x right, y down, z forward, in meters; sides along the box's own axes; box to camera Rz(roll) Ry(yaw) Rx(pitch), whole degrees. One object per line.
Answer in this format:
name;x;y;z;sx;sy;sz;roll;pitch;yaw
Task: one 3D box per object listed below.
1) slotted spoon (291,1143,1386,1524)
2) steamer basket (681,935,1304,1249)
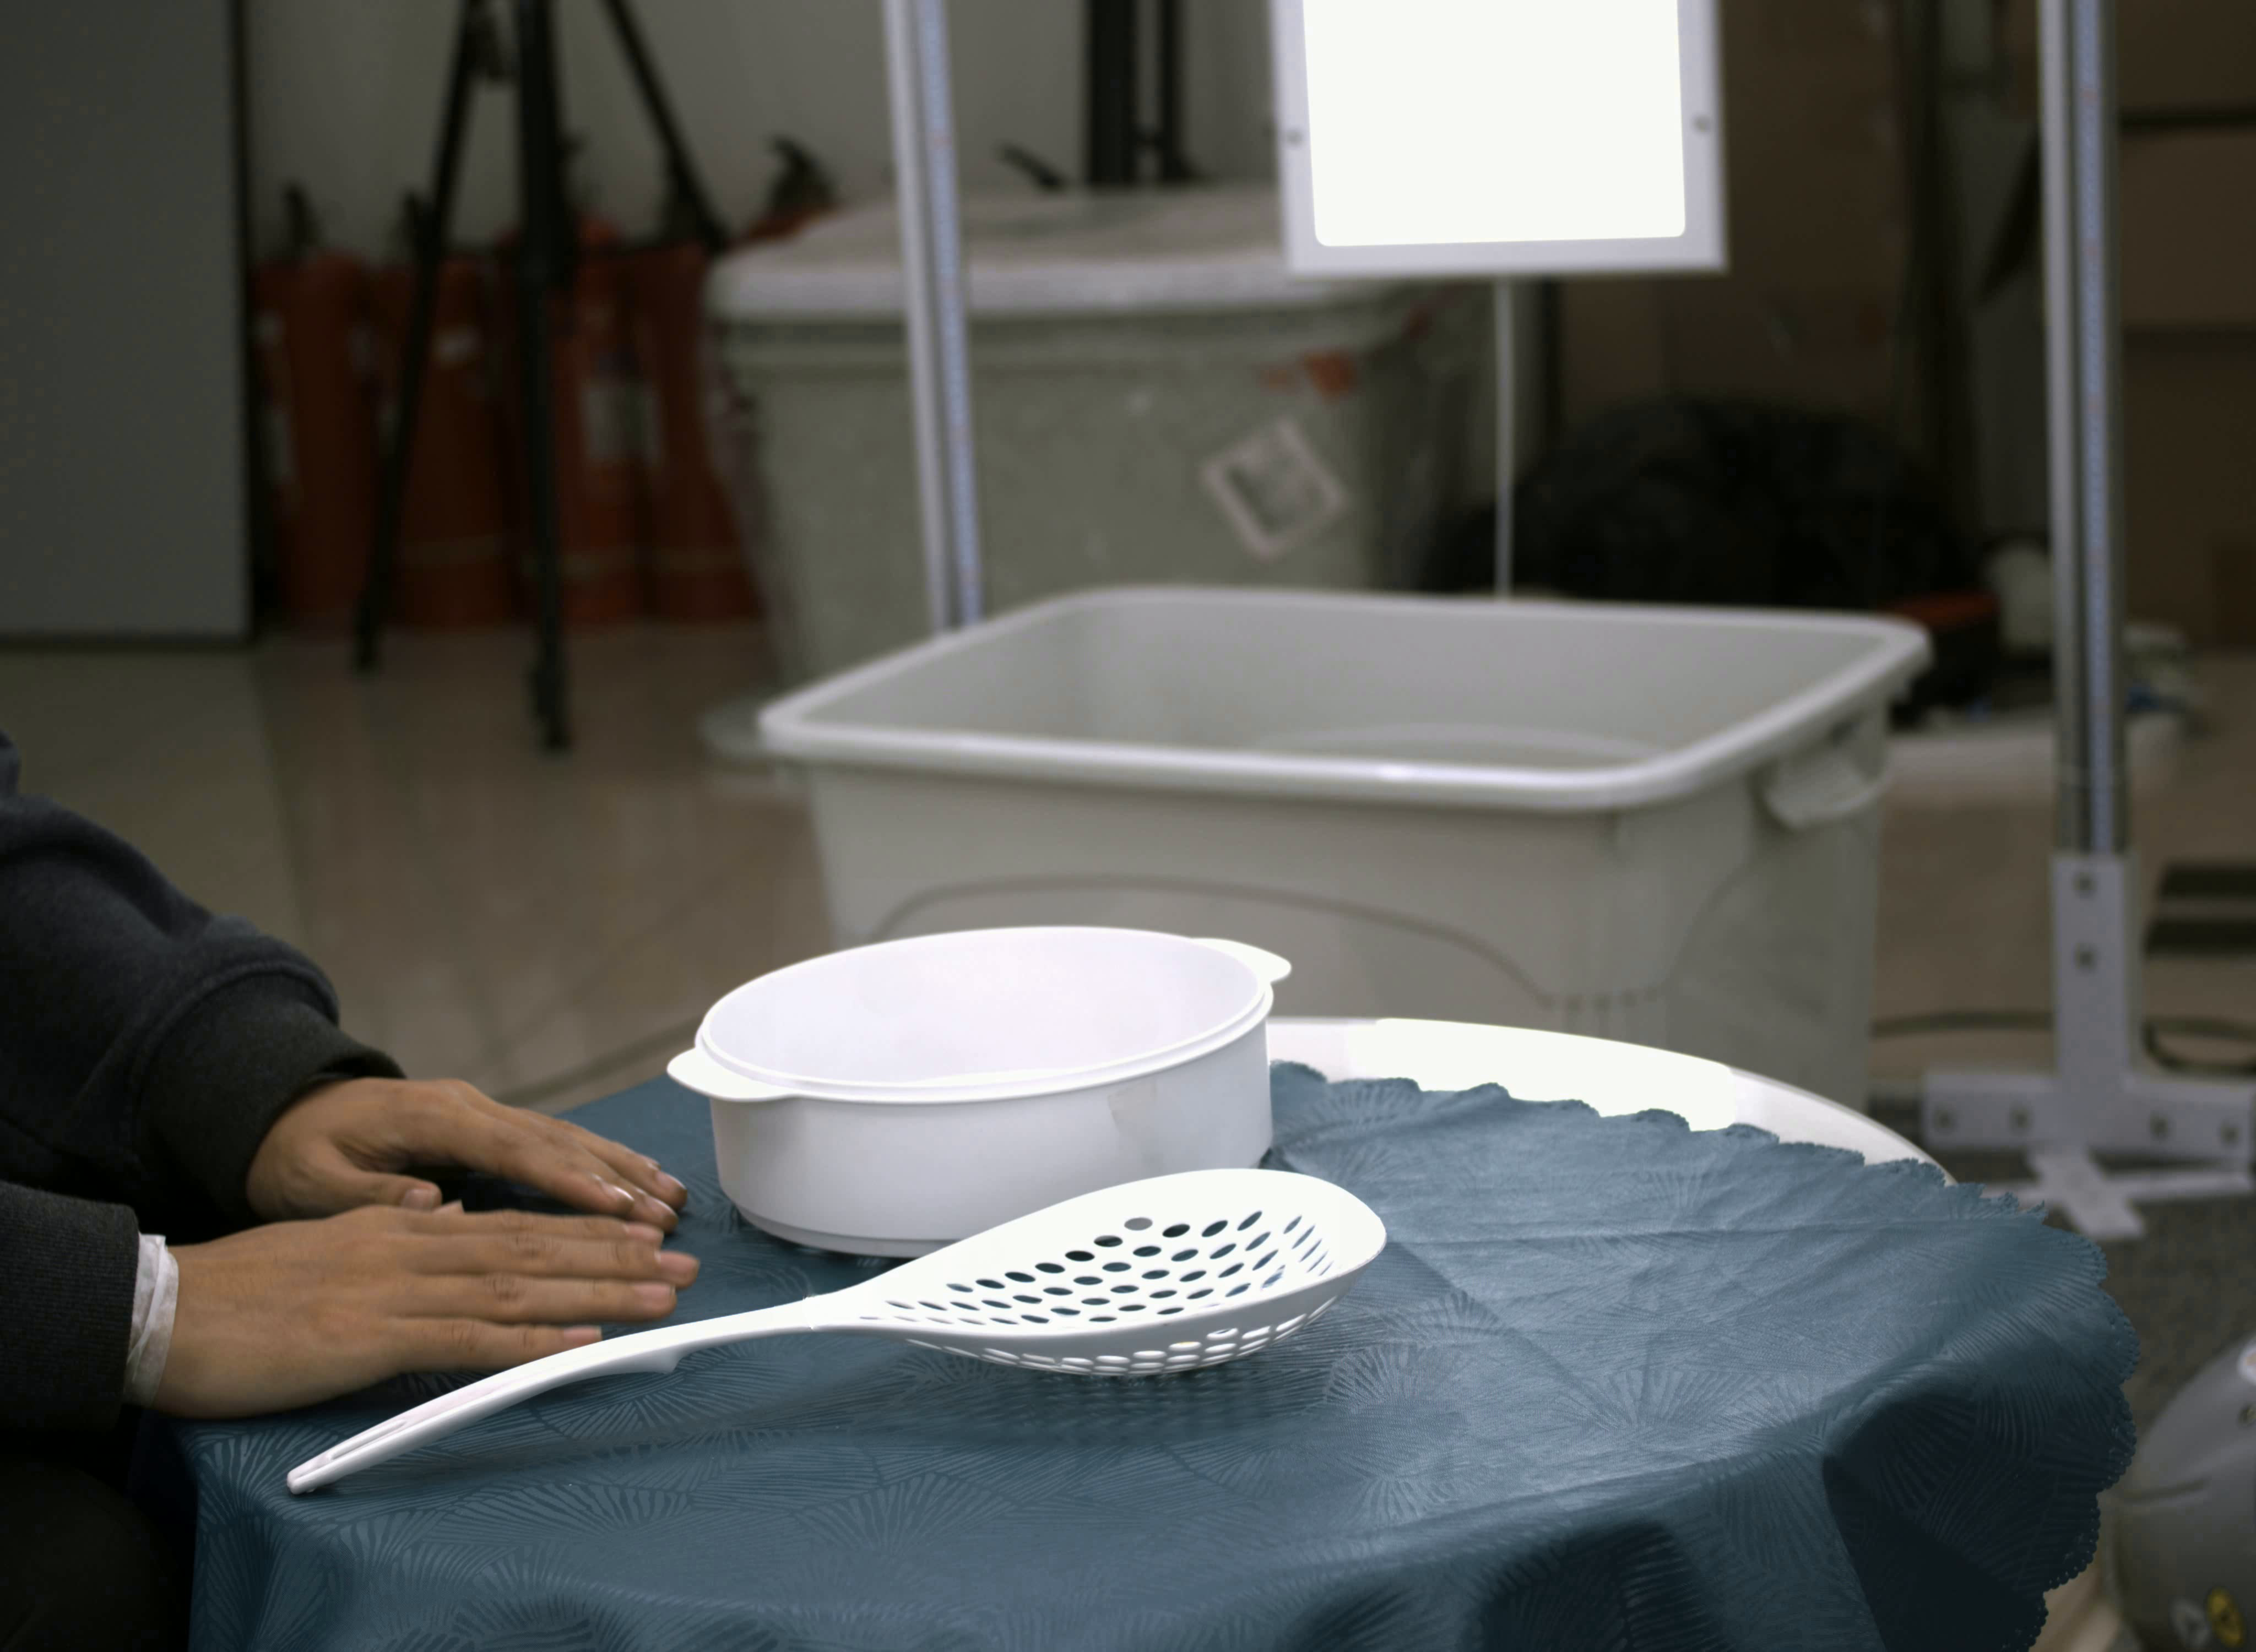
slotted spoon;-0.089;0.161;1.705;0.344;0.050;0.138;-8;17;-11
steamer basket;-0.043;0.092;1.912;0.225;0.069;0.205;-10;14;-28
